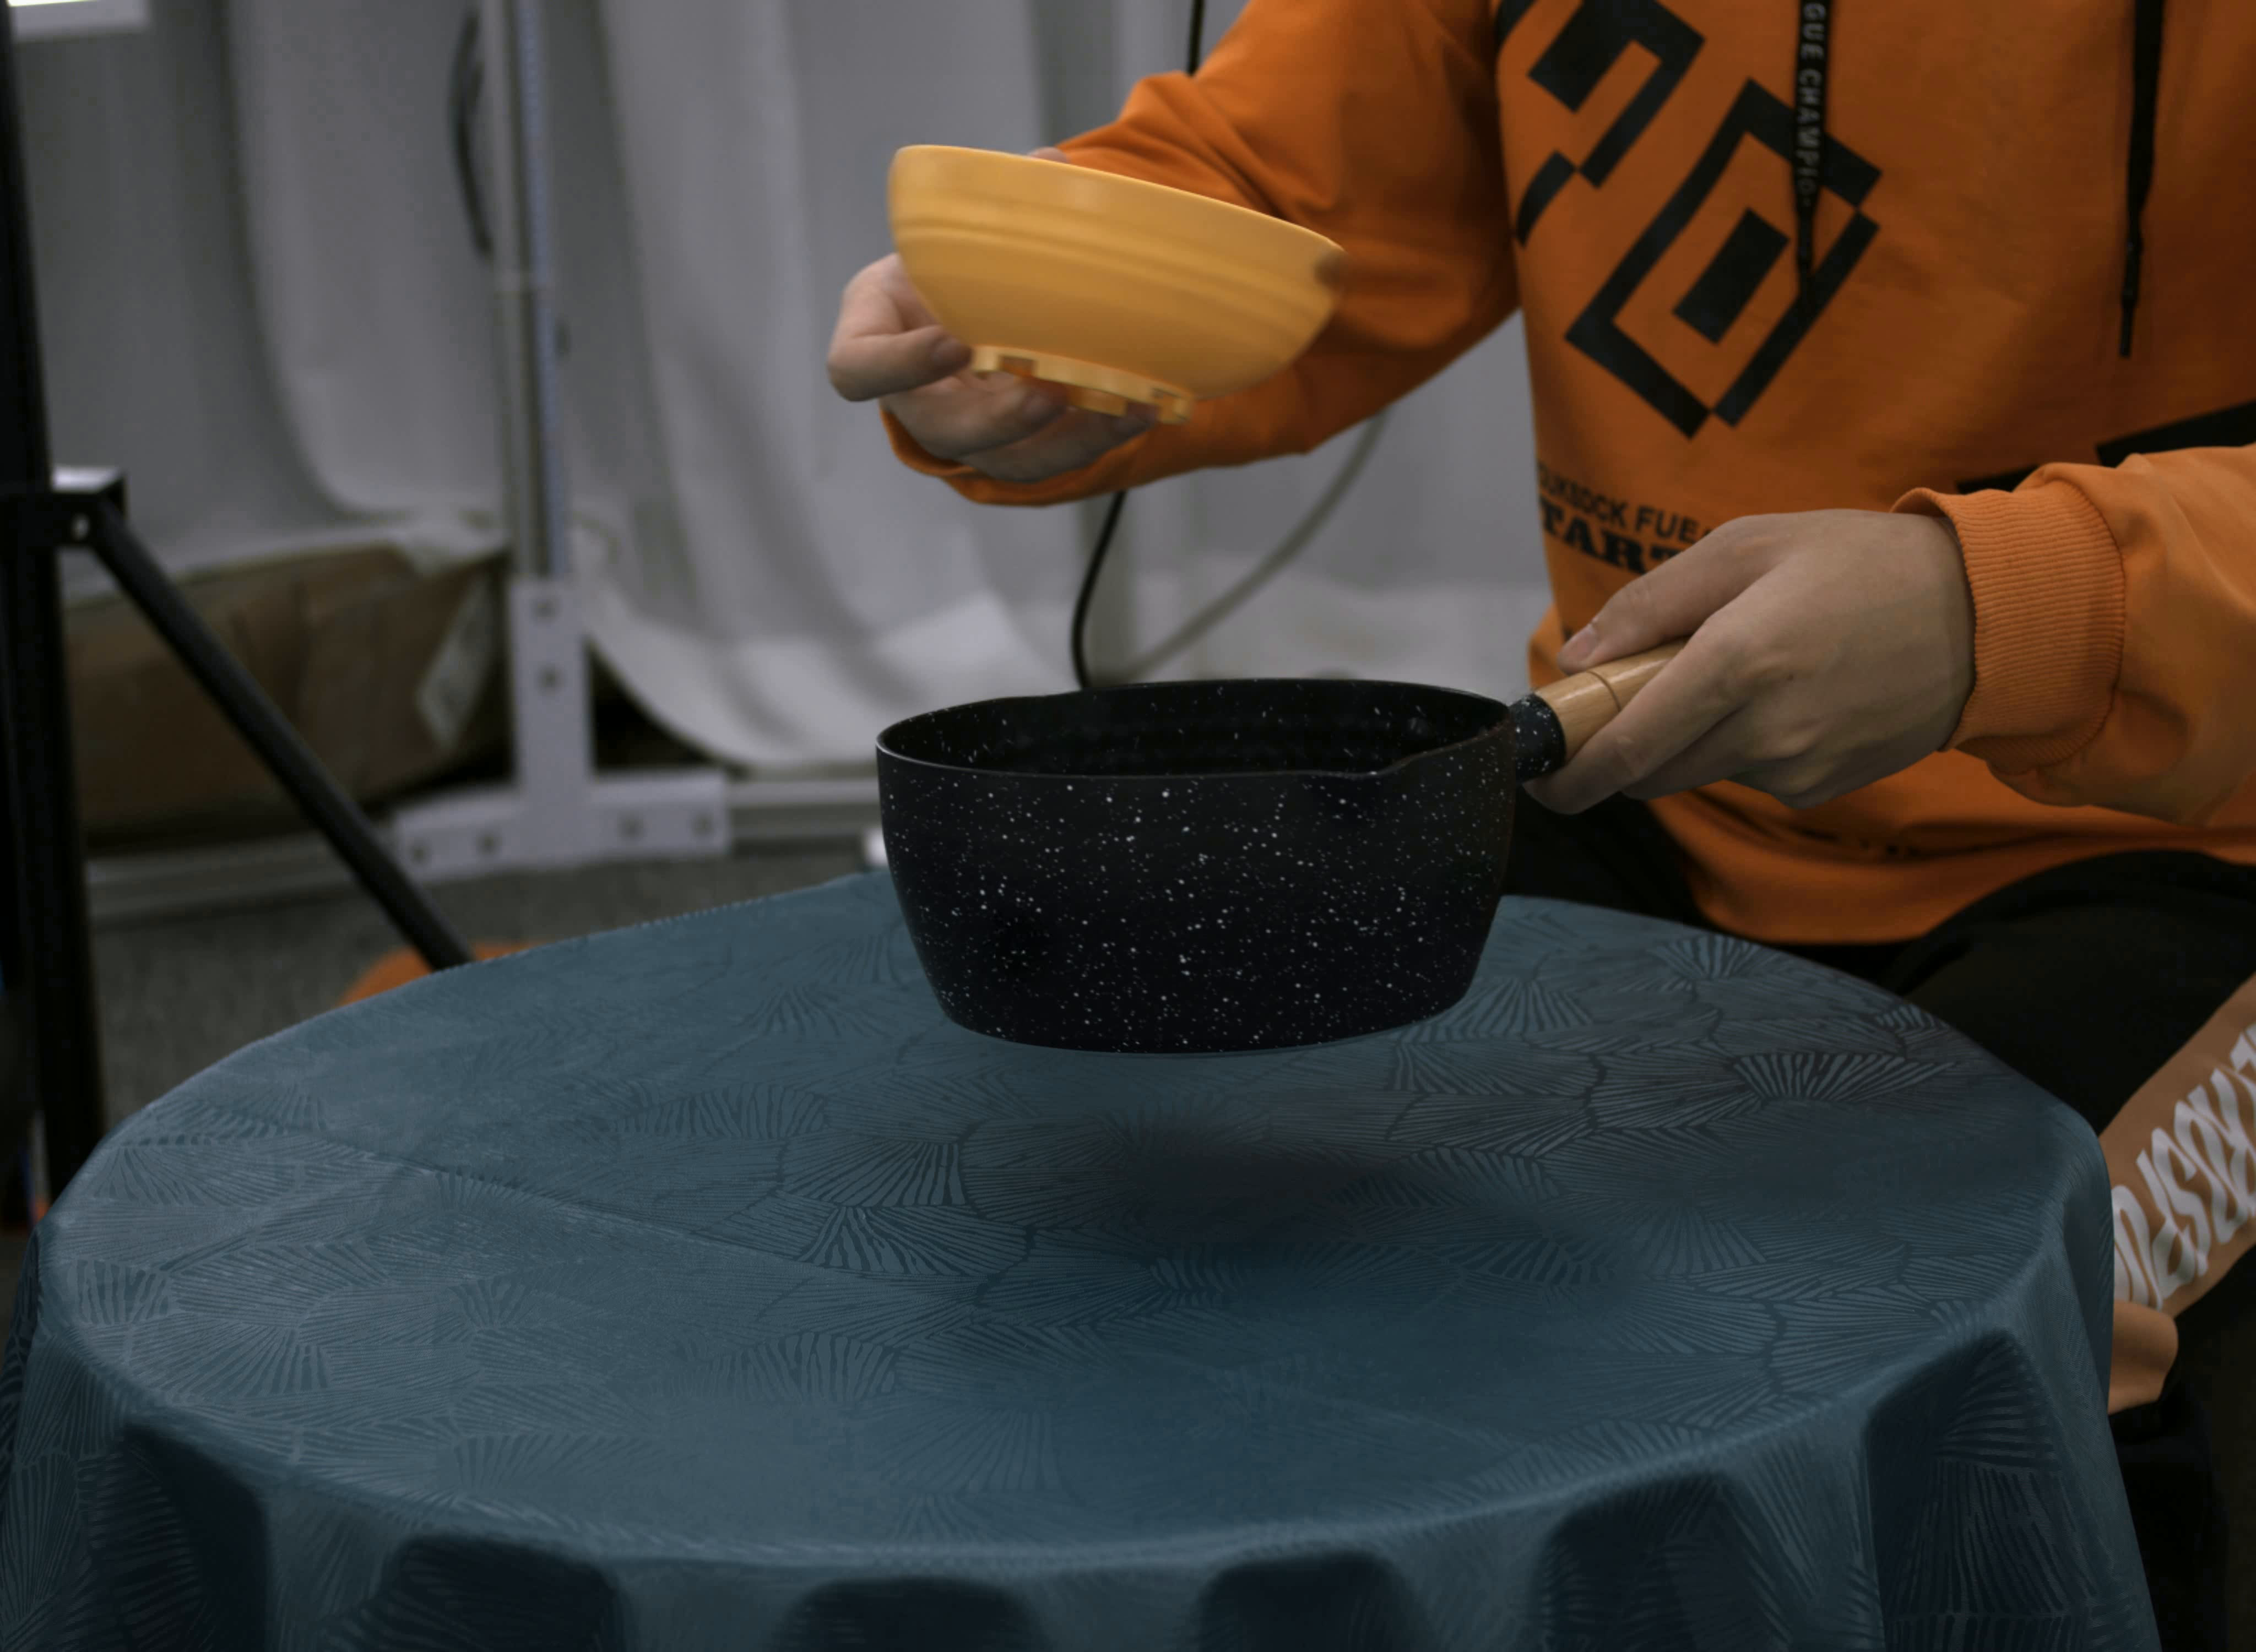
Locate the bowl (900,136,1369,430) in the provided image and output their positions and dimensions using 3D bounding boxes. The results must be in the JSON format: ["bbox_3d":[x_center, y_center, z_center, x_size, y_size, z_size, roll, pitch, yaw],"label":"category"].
[{"bbox_3d":[-0.005,-0.154,1.582,0.144,0.060,0.145,15,-2,-1],"label":"bowl"}]

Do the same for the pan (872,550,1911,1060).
[{"bbox_3d":[0.089,-0.009,1.567,0.335,0.108,0.211,-9,10,-27],"label":"pan"}]
